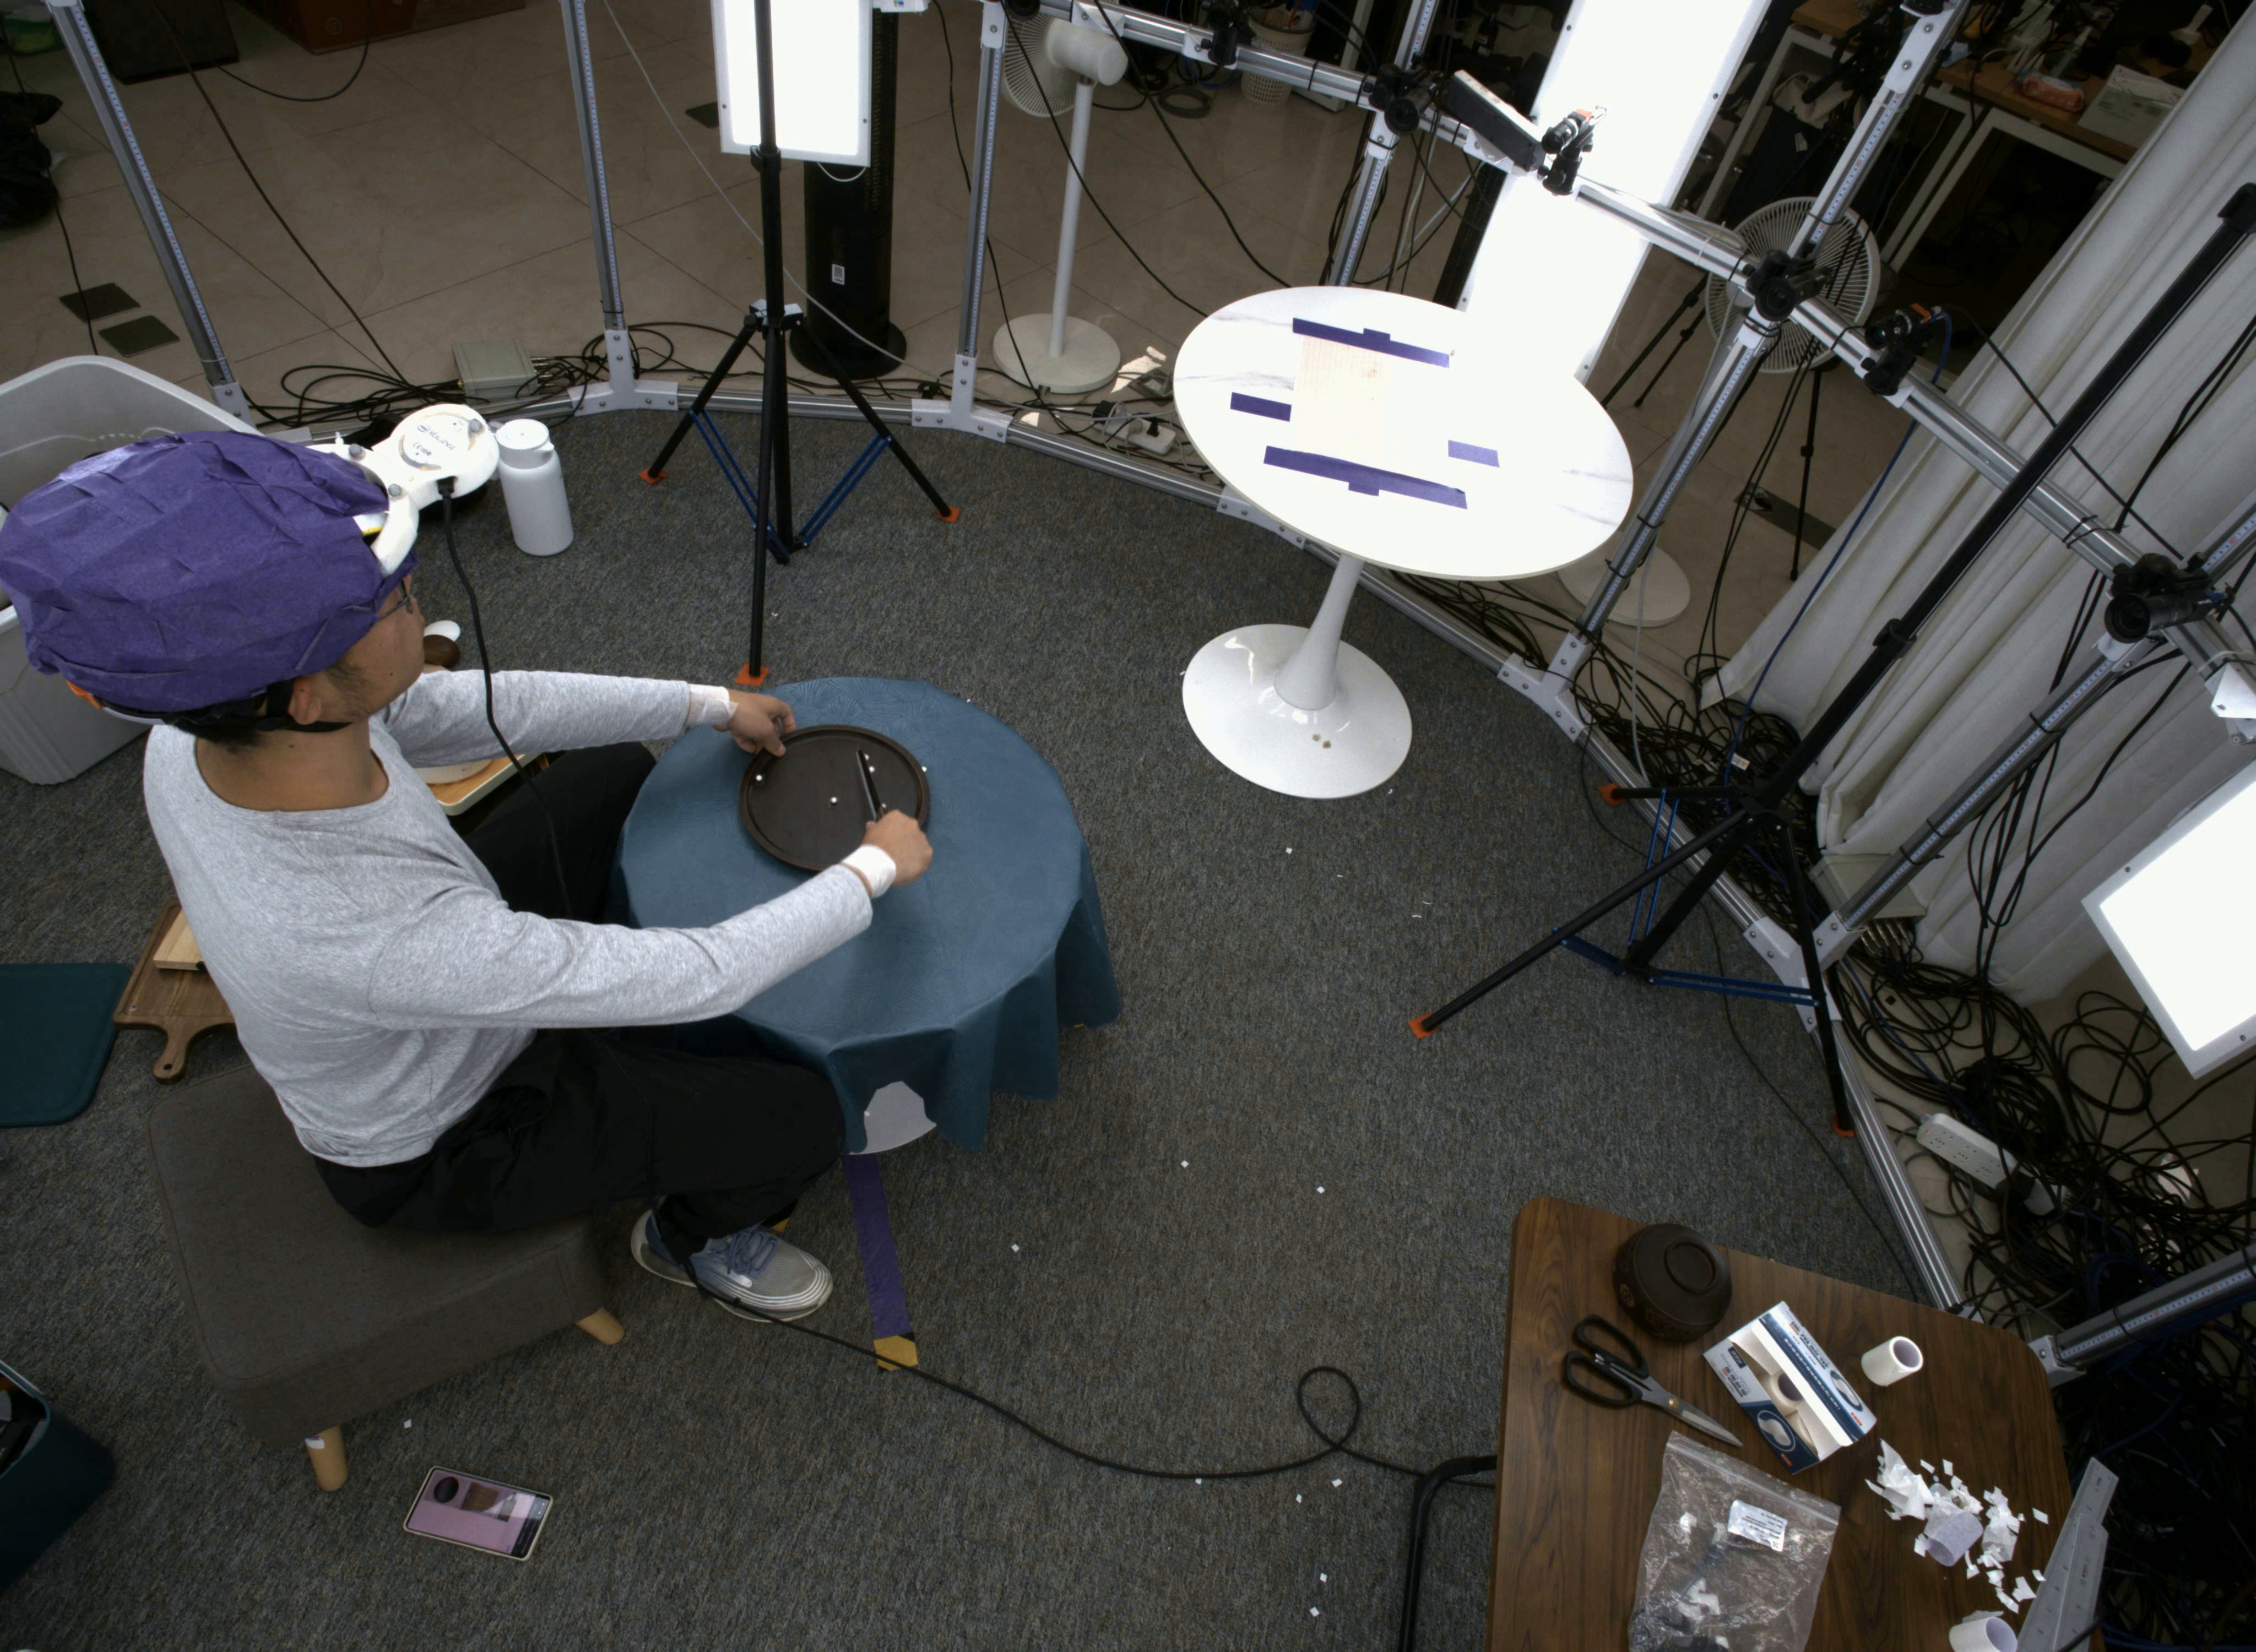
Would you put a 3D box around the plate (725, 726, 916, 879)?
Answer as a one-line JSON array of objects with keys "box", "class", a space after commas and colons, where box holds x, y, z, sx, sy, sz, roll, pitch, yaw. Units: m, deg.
[{"box": [-0.413, -0.034, 1.748, 0.254, 0.029, 0.250, 8, 55, -9], "class": "plate"}]

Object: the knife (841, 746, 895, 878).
[{"box": [-0.341, -0.024, 1.672, 0.020, 0.051, 0.279, -5, 37, -24], "class": "knife"}]
